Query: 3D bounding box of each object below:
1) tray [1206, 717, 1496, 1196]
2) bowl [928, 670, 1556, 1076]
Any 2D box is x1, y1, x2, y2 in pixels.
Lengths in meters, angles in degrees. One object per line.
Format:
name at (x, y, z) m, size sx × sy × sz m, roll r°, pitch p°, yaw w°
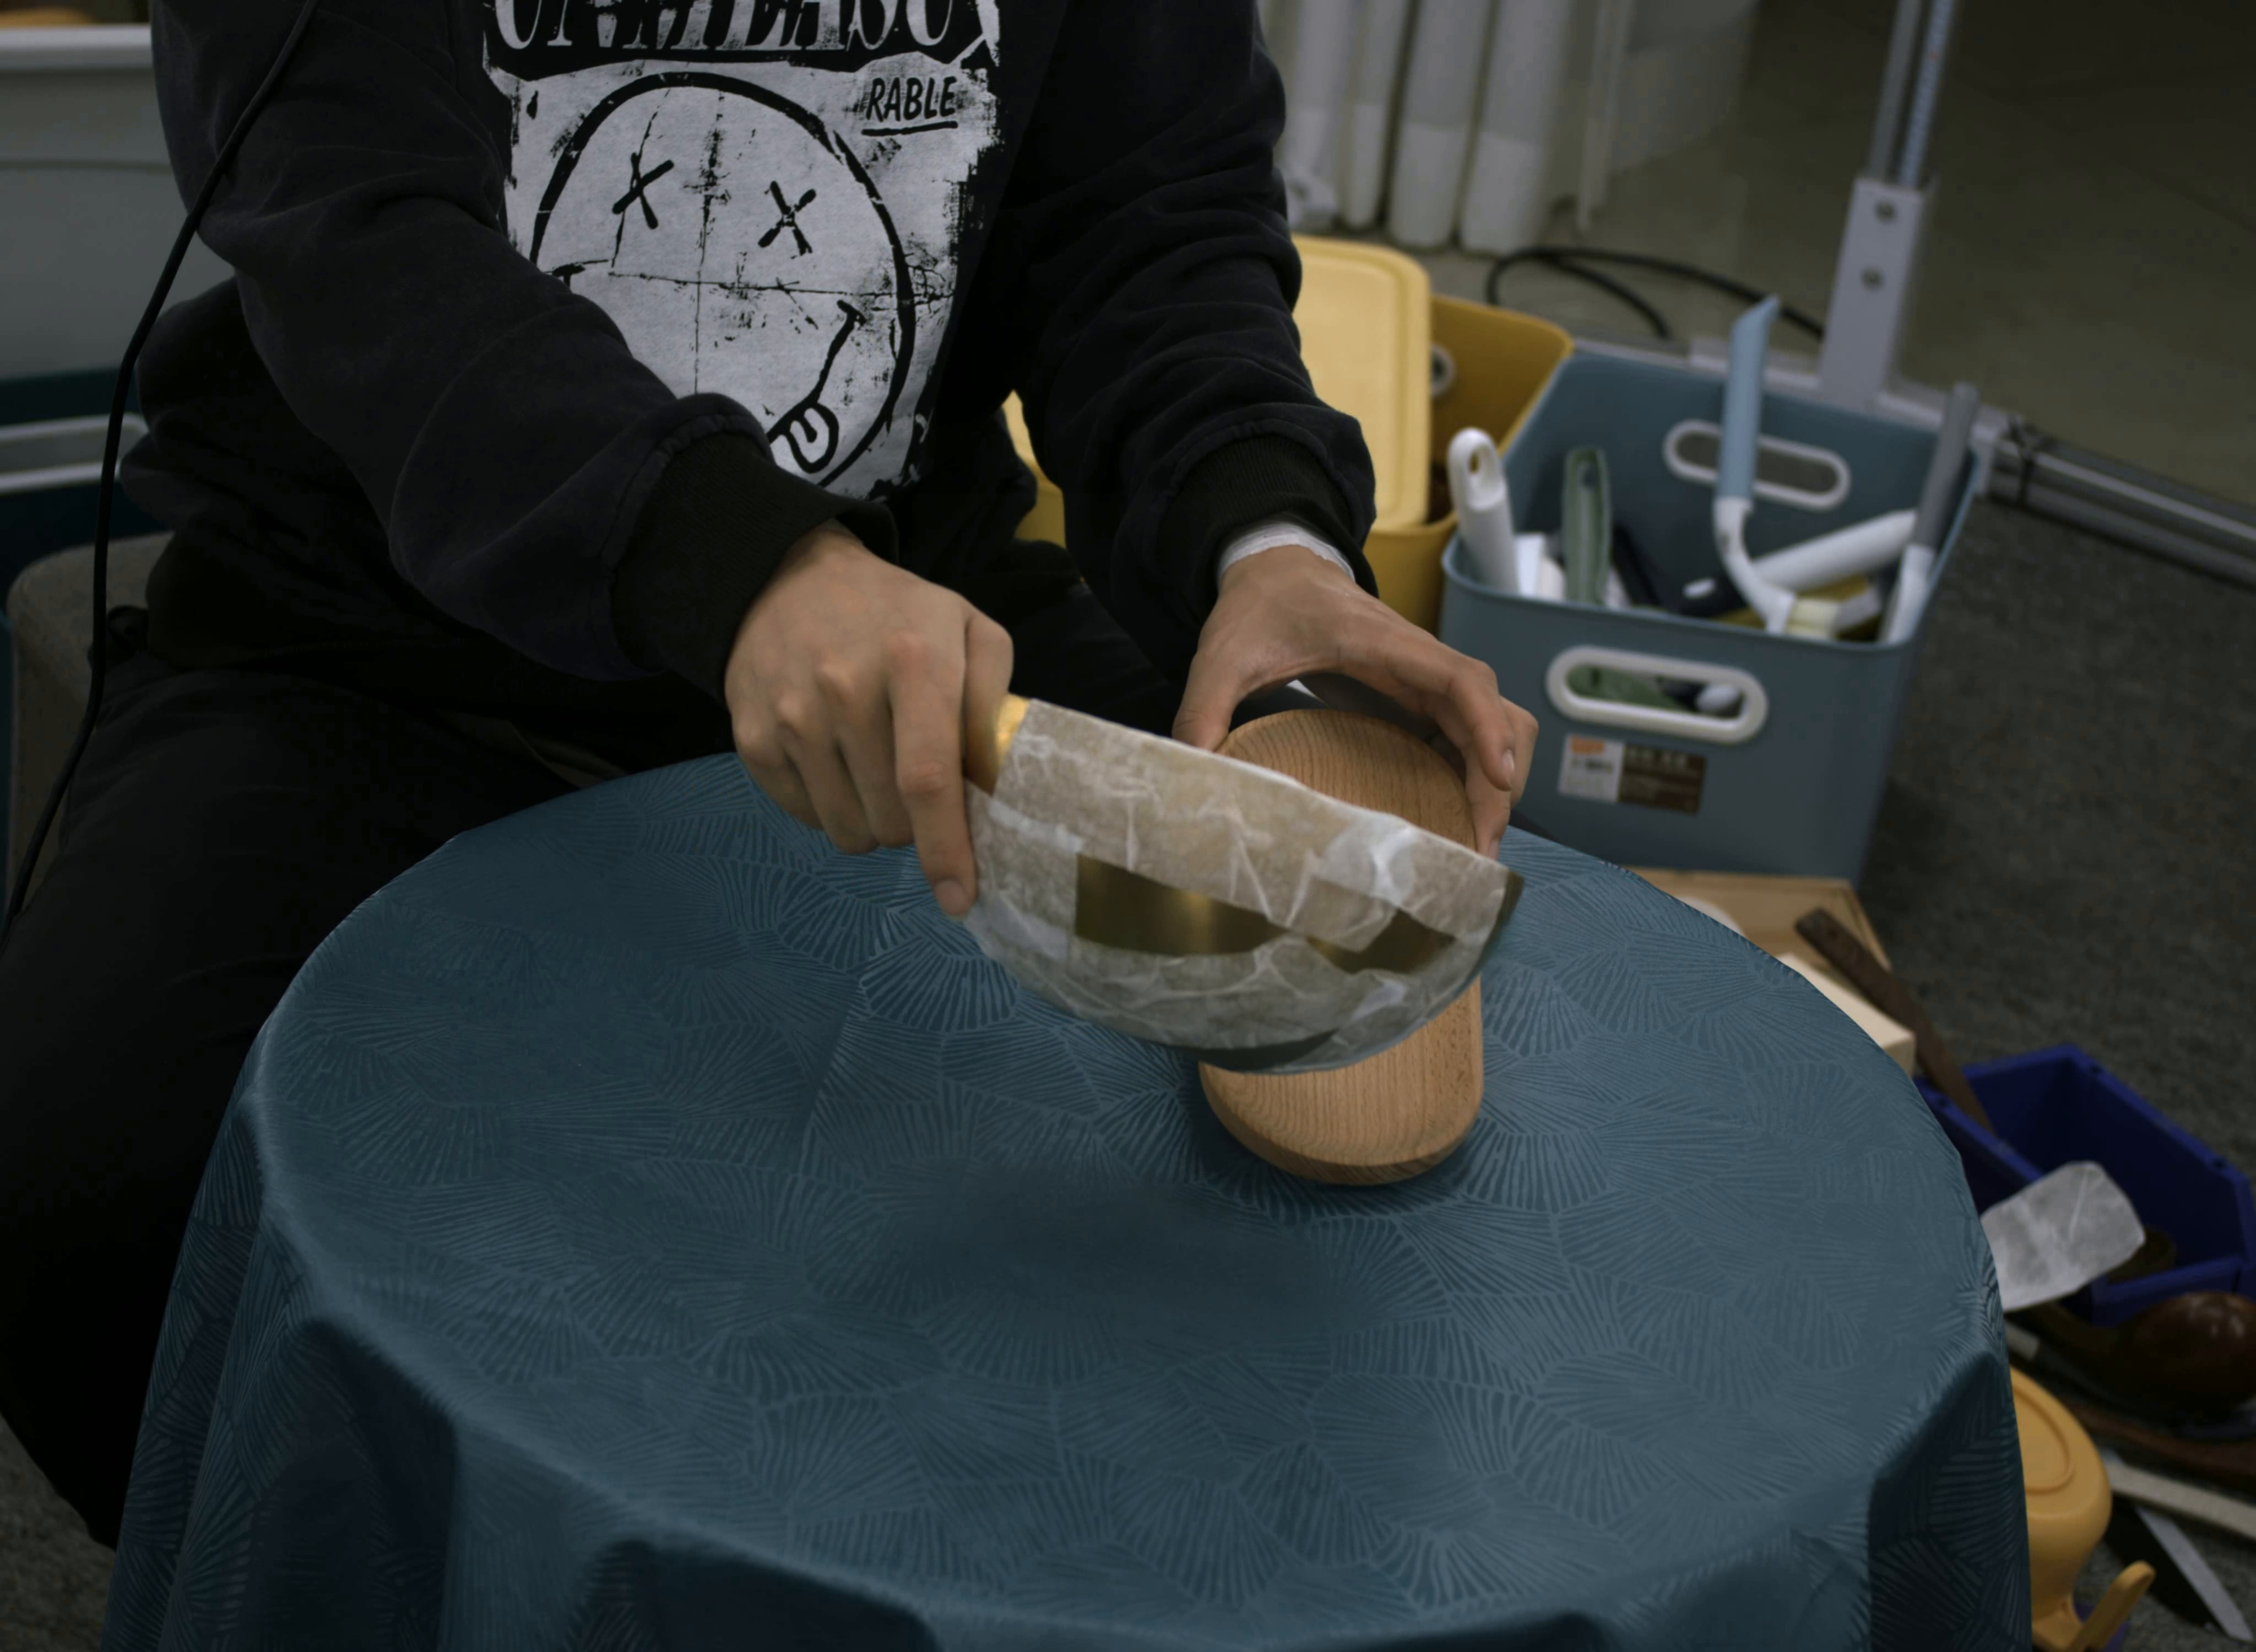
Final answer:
tray at (0.077, 0.044, 1.893) m, size 0.101 × 0.020 × 0.233 m, roll 4°, pitch 44°, yaw -4°
bowl at (0.023, 0.027, 1.724) m, size 0.214 × 0.095 × 0.214 m, roll 18°, pitch -2°, yaw 0°
